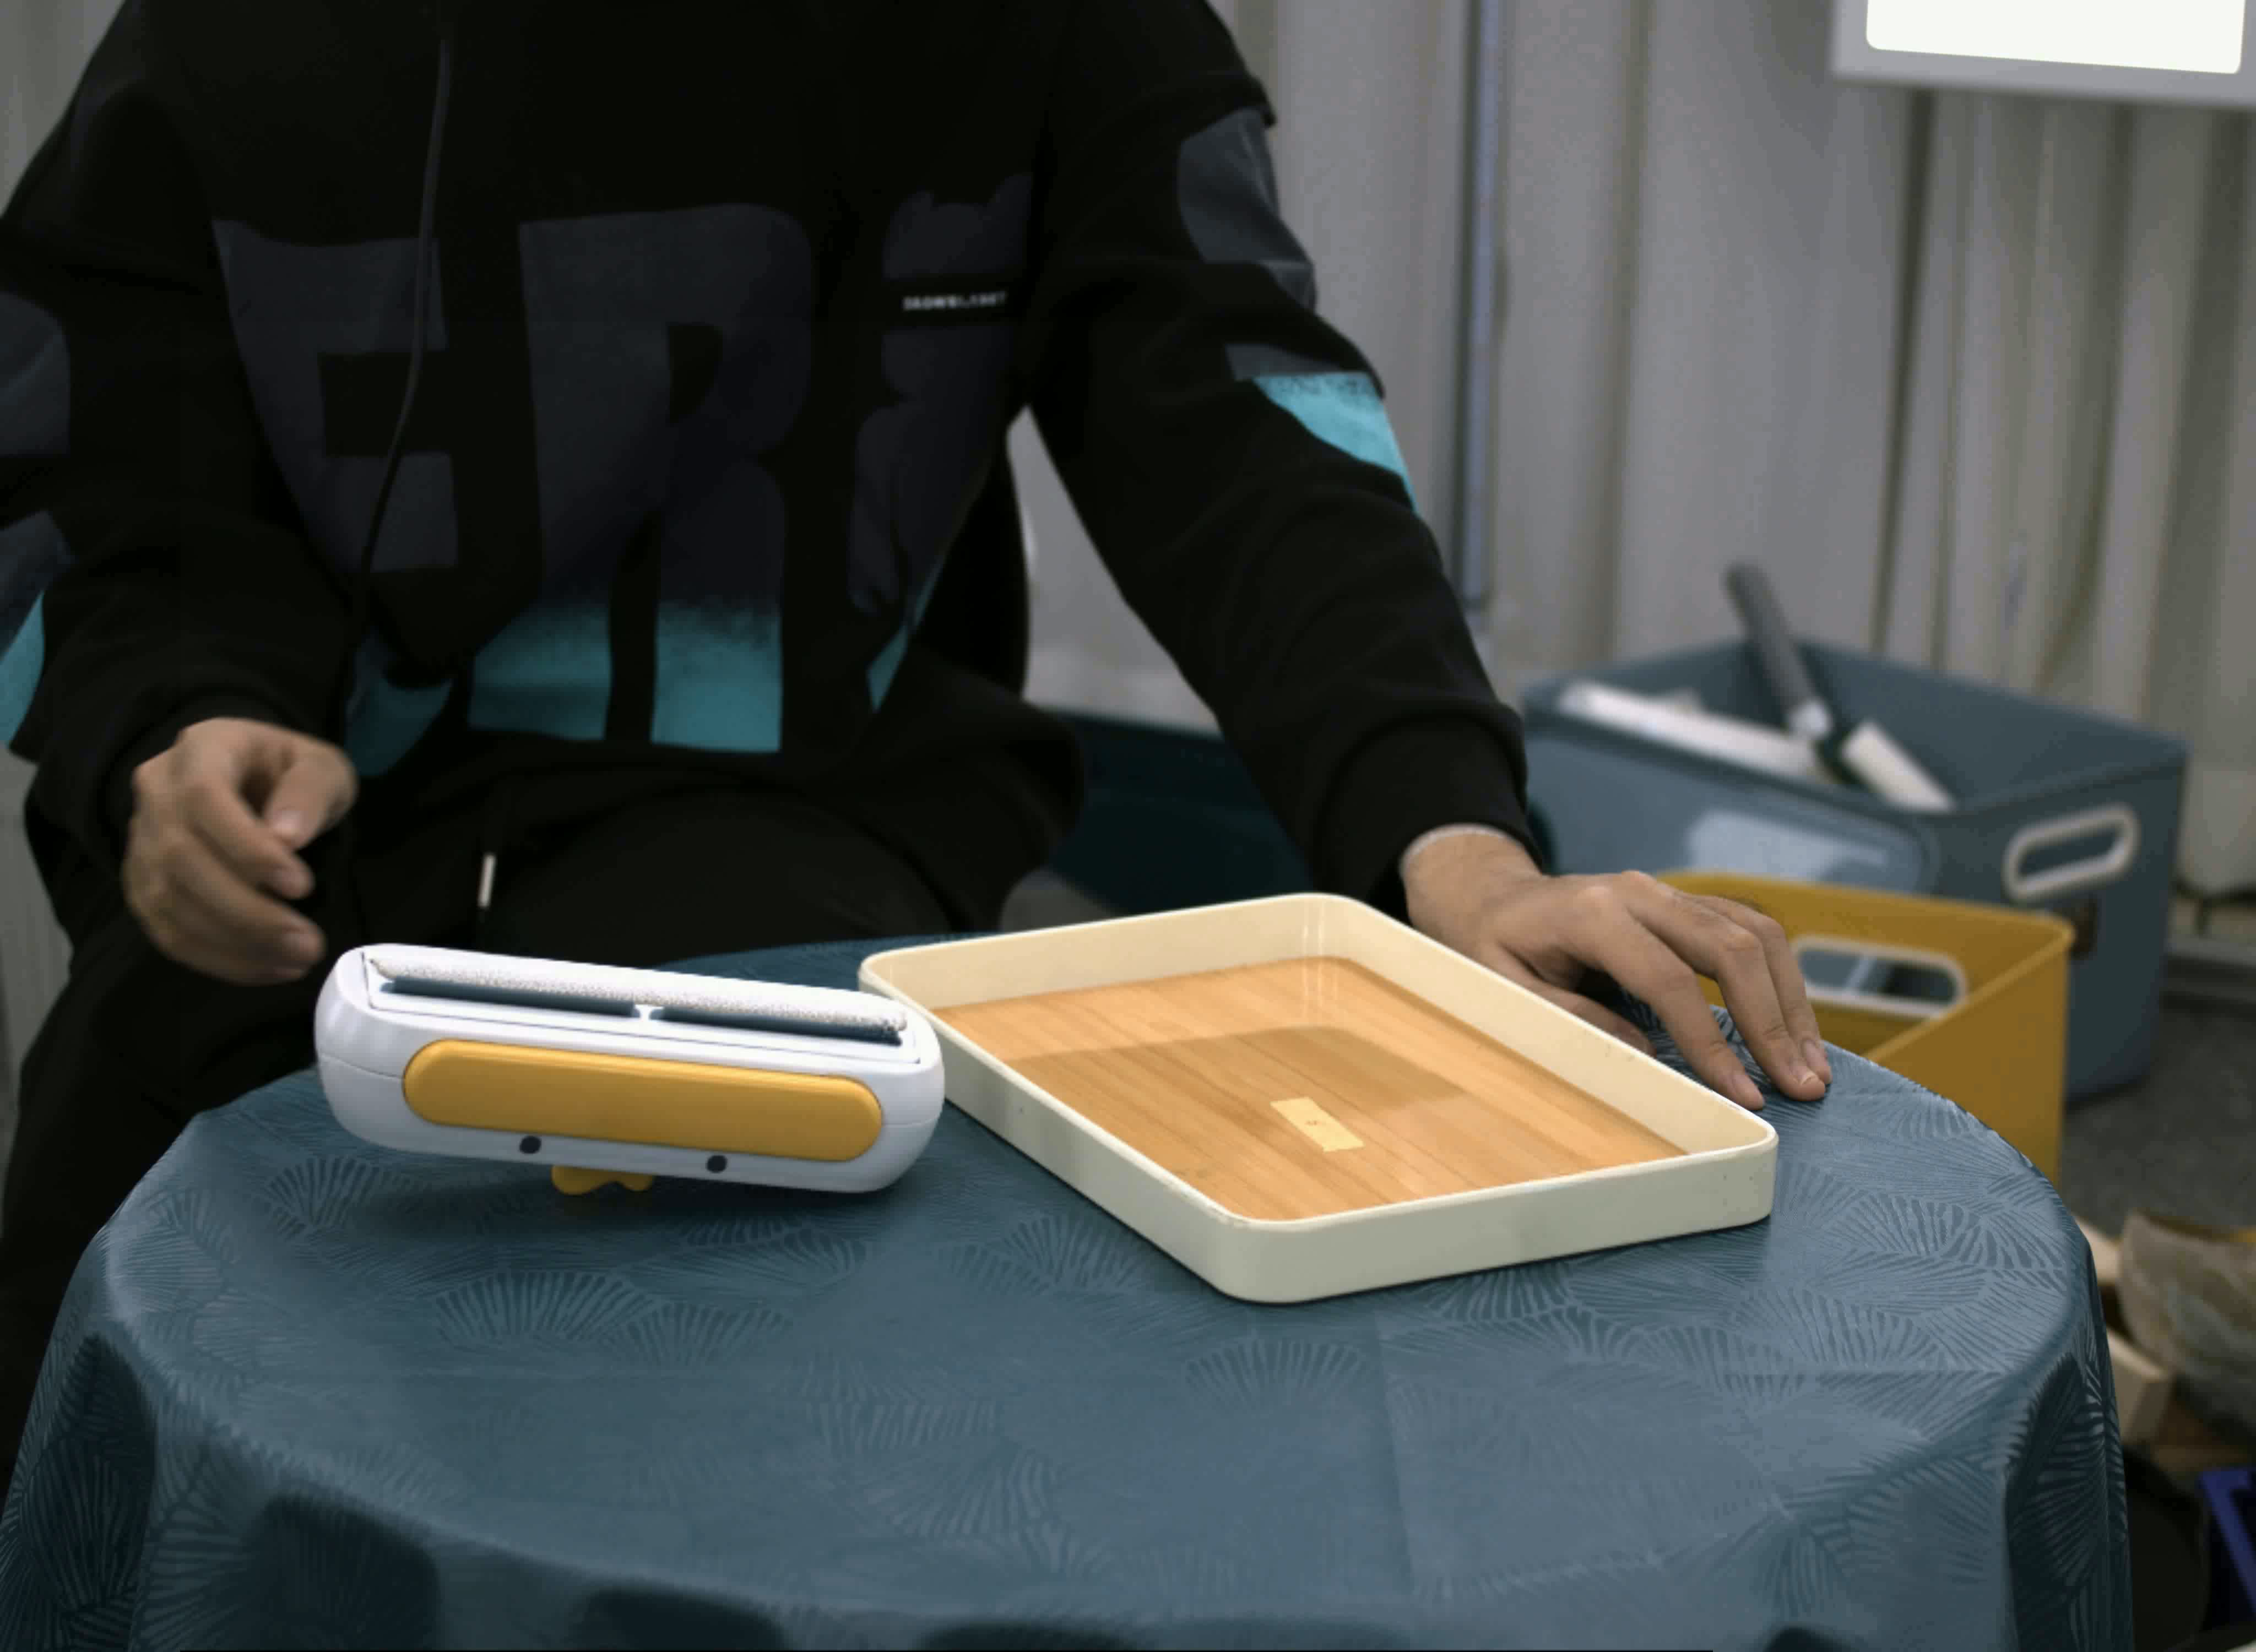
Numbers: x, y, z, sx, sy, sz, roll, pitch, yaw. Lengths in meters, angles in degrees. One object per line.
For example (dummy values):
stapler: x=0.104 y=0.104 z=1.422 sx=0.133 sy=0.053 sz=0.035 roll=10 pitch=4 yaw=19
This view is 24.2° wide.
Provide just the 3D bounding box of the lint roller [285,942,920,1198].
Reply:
lint roller: x=-0.169 y=0.066 z=1.654 sx=0.193 sy=0.074 sz=0.191 roll=3 pitch=13 yaw=-11

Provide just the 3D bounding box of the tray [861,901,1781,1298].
tray: x=0.054 y=0.082 z=1.680 sx=0.192 sy=0.027 sz=0.296 roll=-6 pitch=17 yaw=-25
